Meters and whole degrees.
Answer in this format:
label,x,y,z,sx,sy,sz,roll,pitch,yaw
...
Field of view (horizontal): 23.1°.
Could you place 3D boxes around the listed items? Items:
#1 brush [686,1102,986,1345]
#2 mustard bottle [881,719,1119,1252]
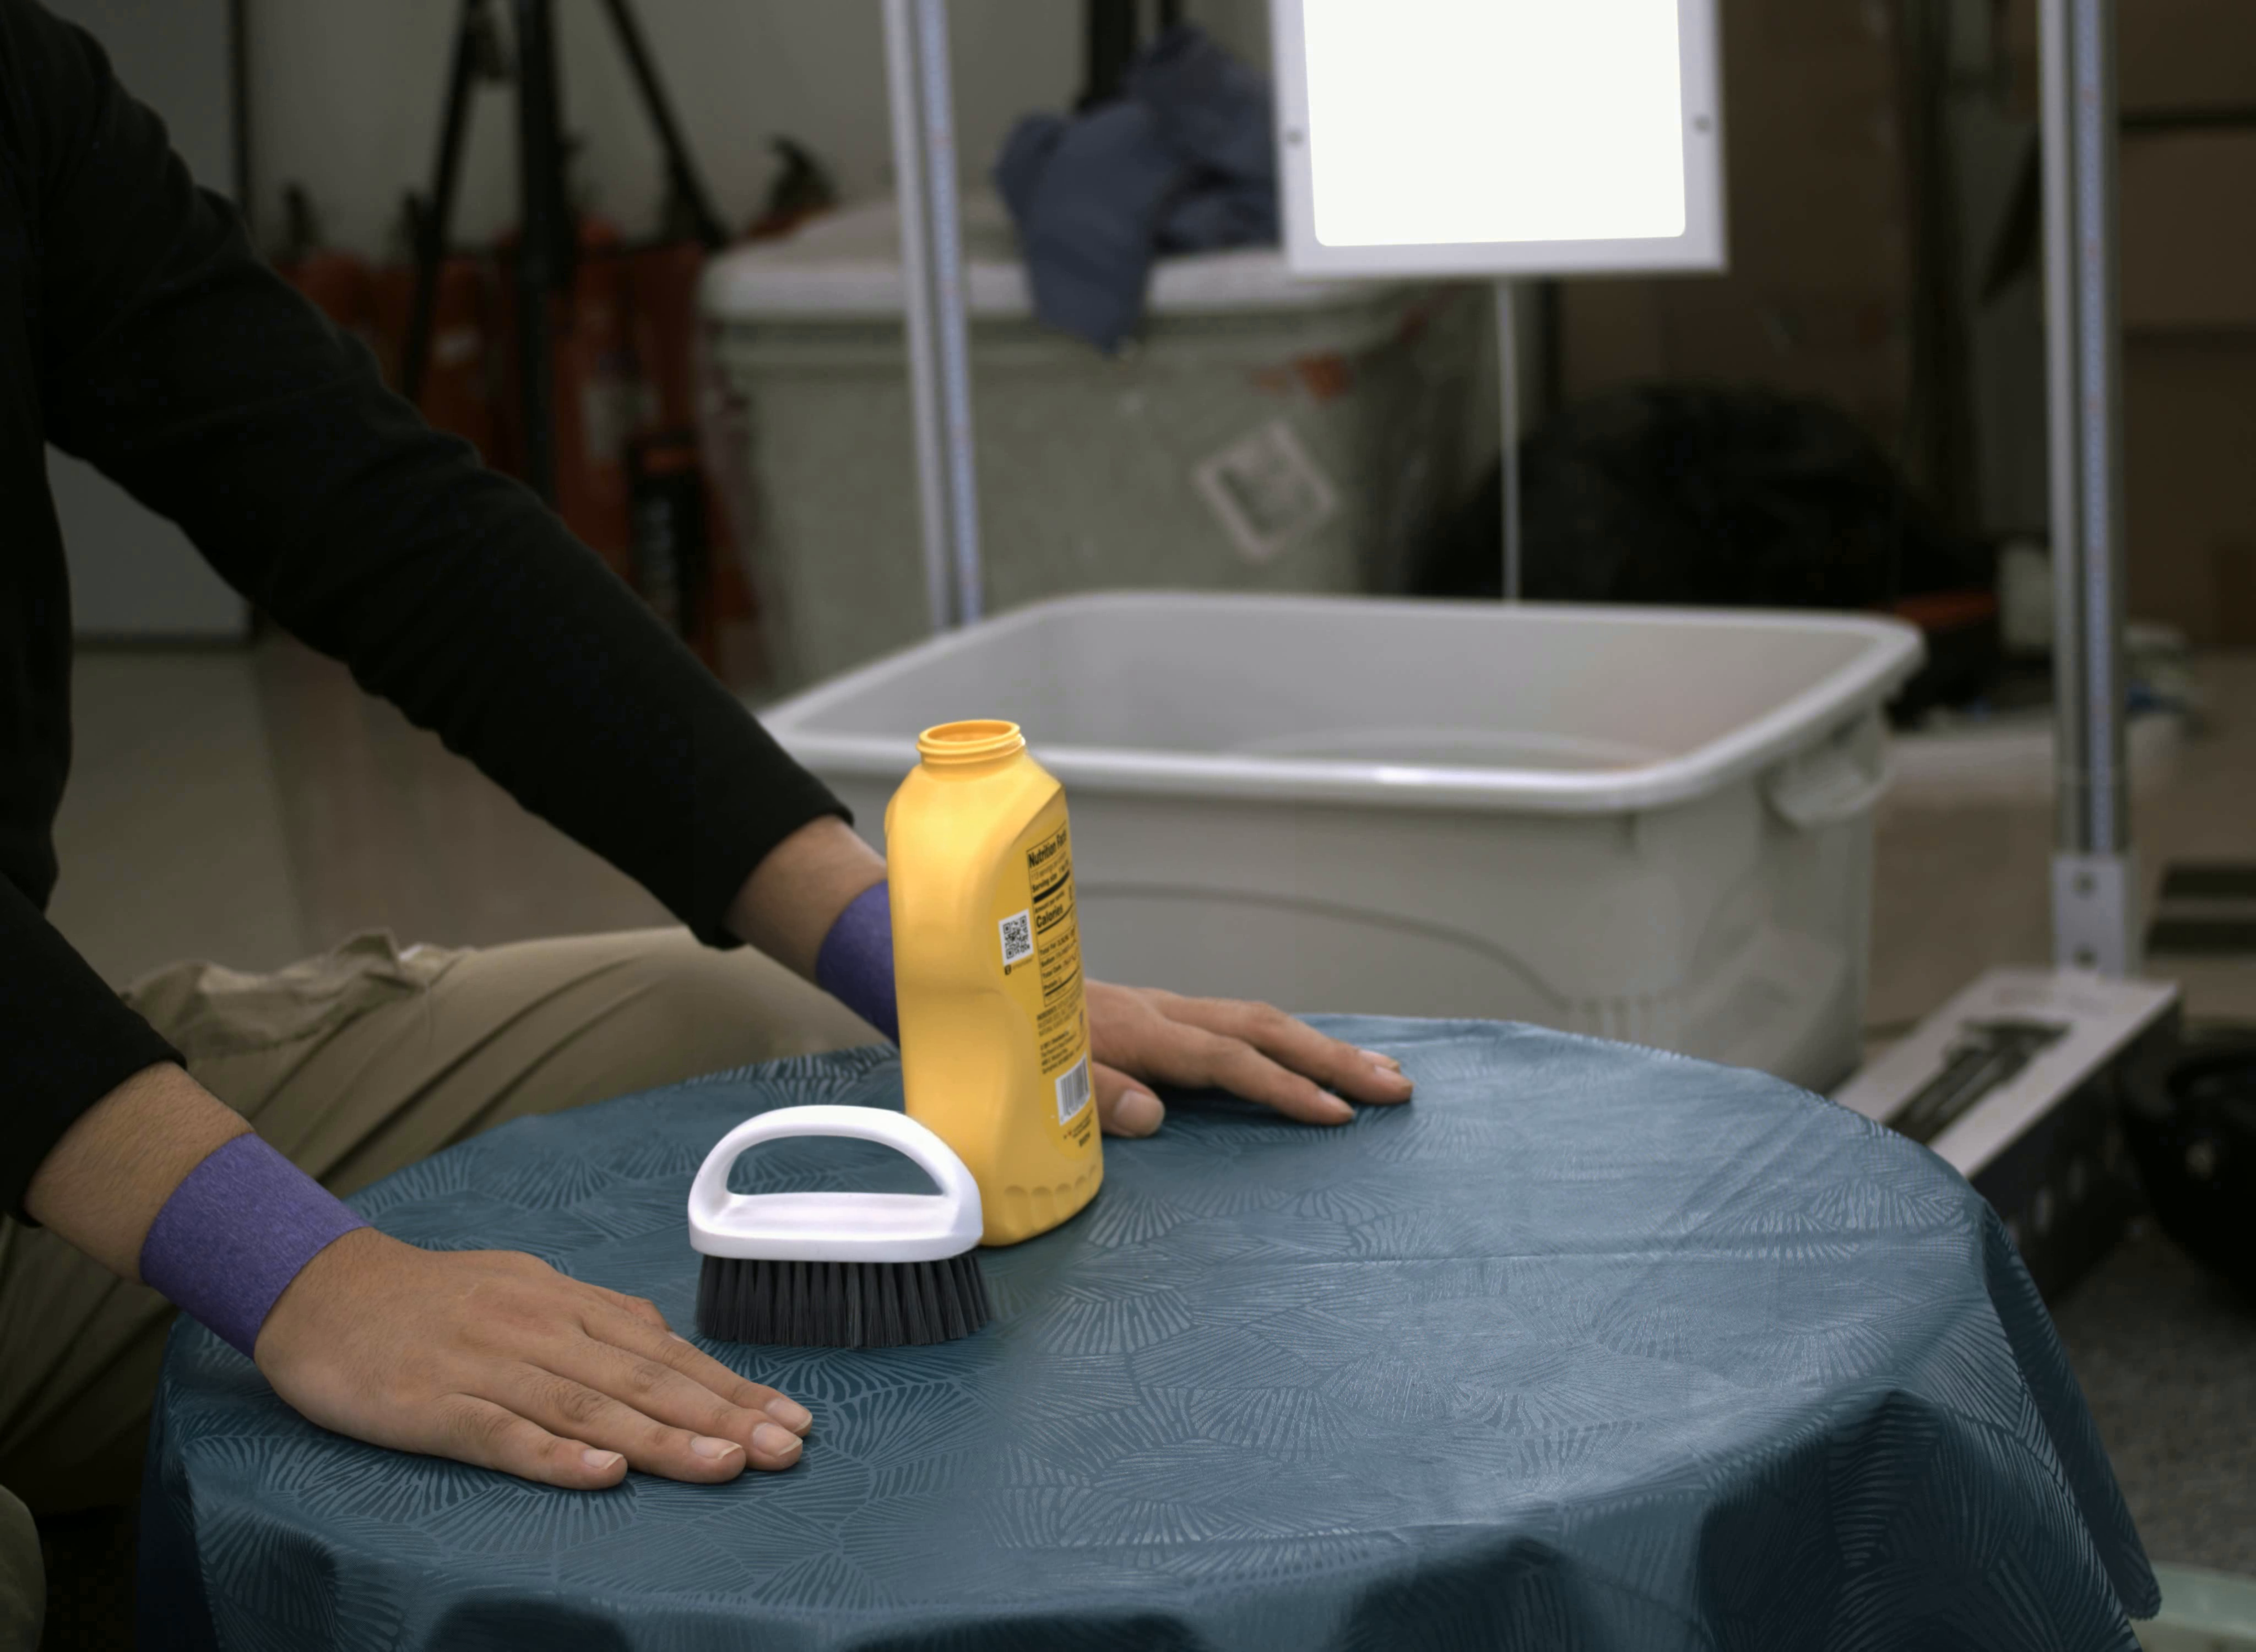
label,x,y,z,sx,sy,sz,roll,pitch,yaw
brush,-0.096,0.125,1.780,0.100,0.073,0.049,1,14,20
mustard bottle,-0.045,0.052,1.865,0.060,0.172,0.097,-4,14,18
